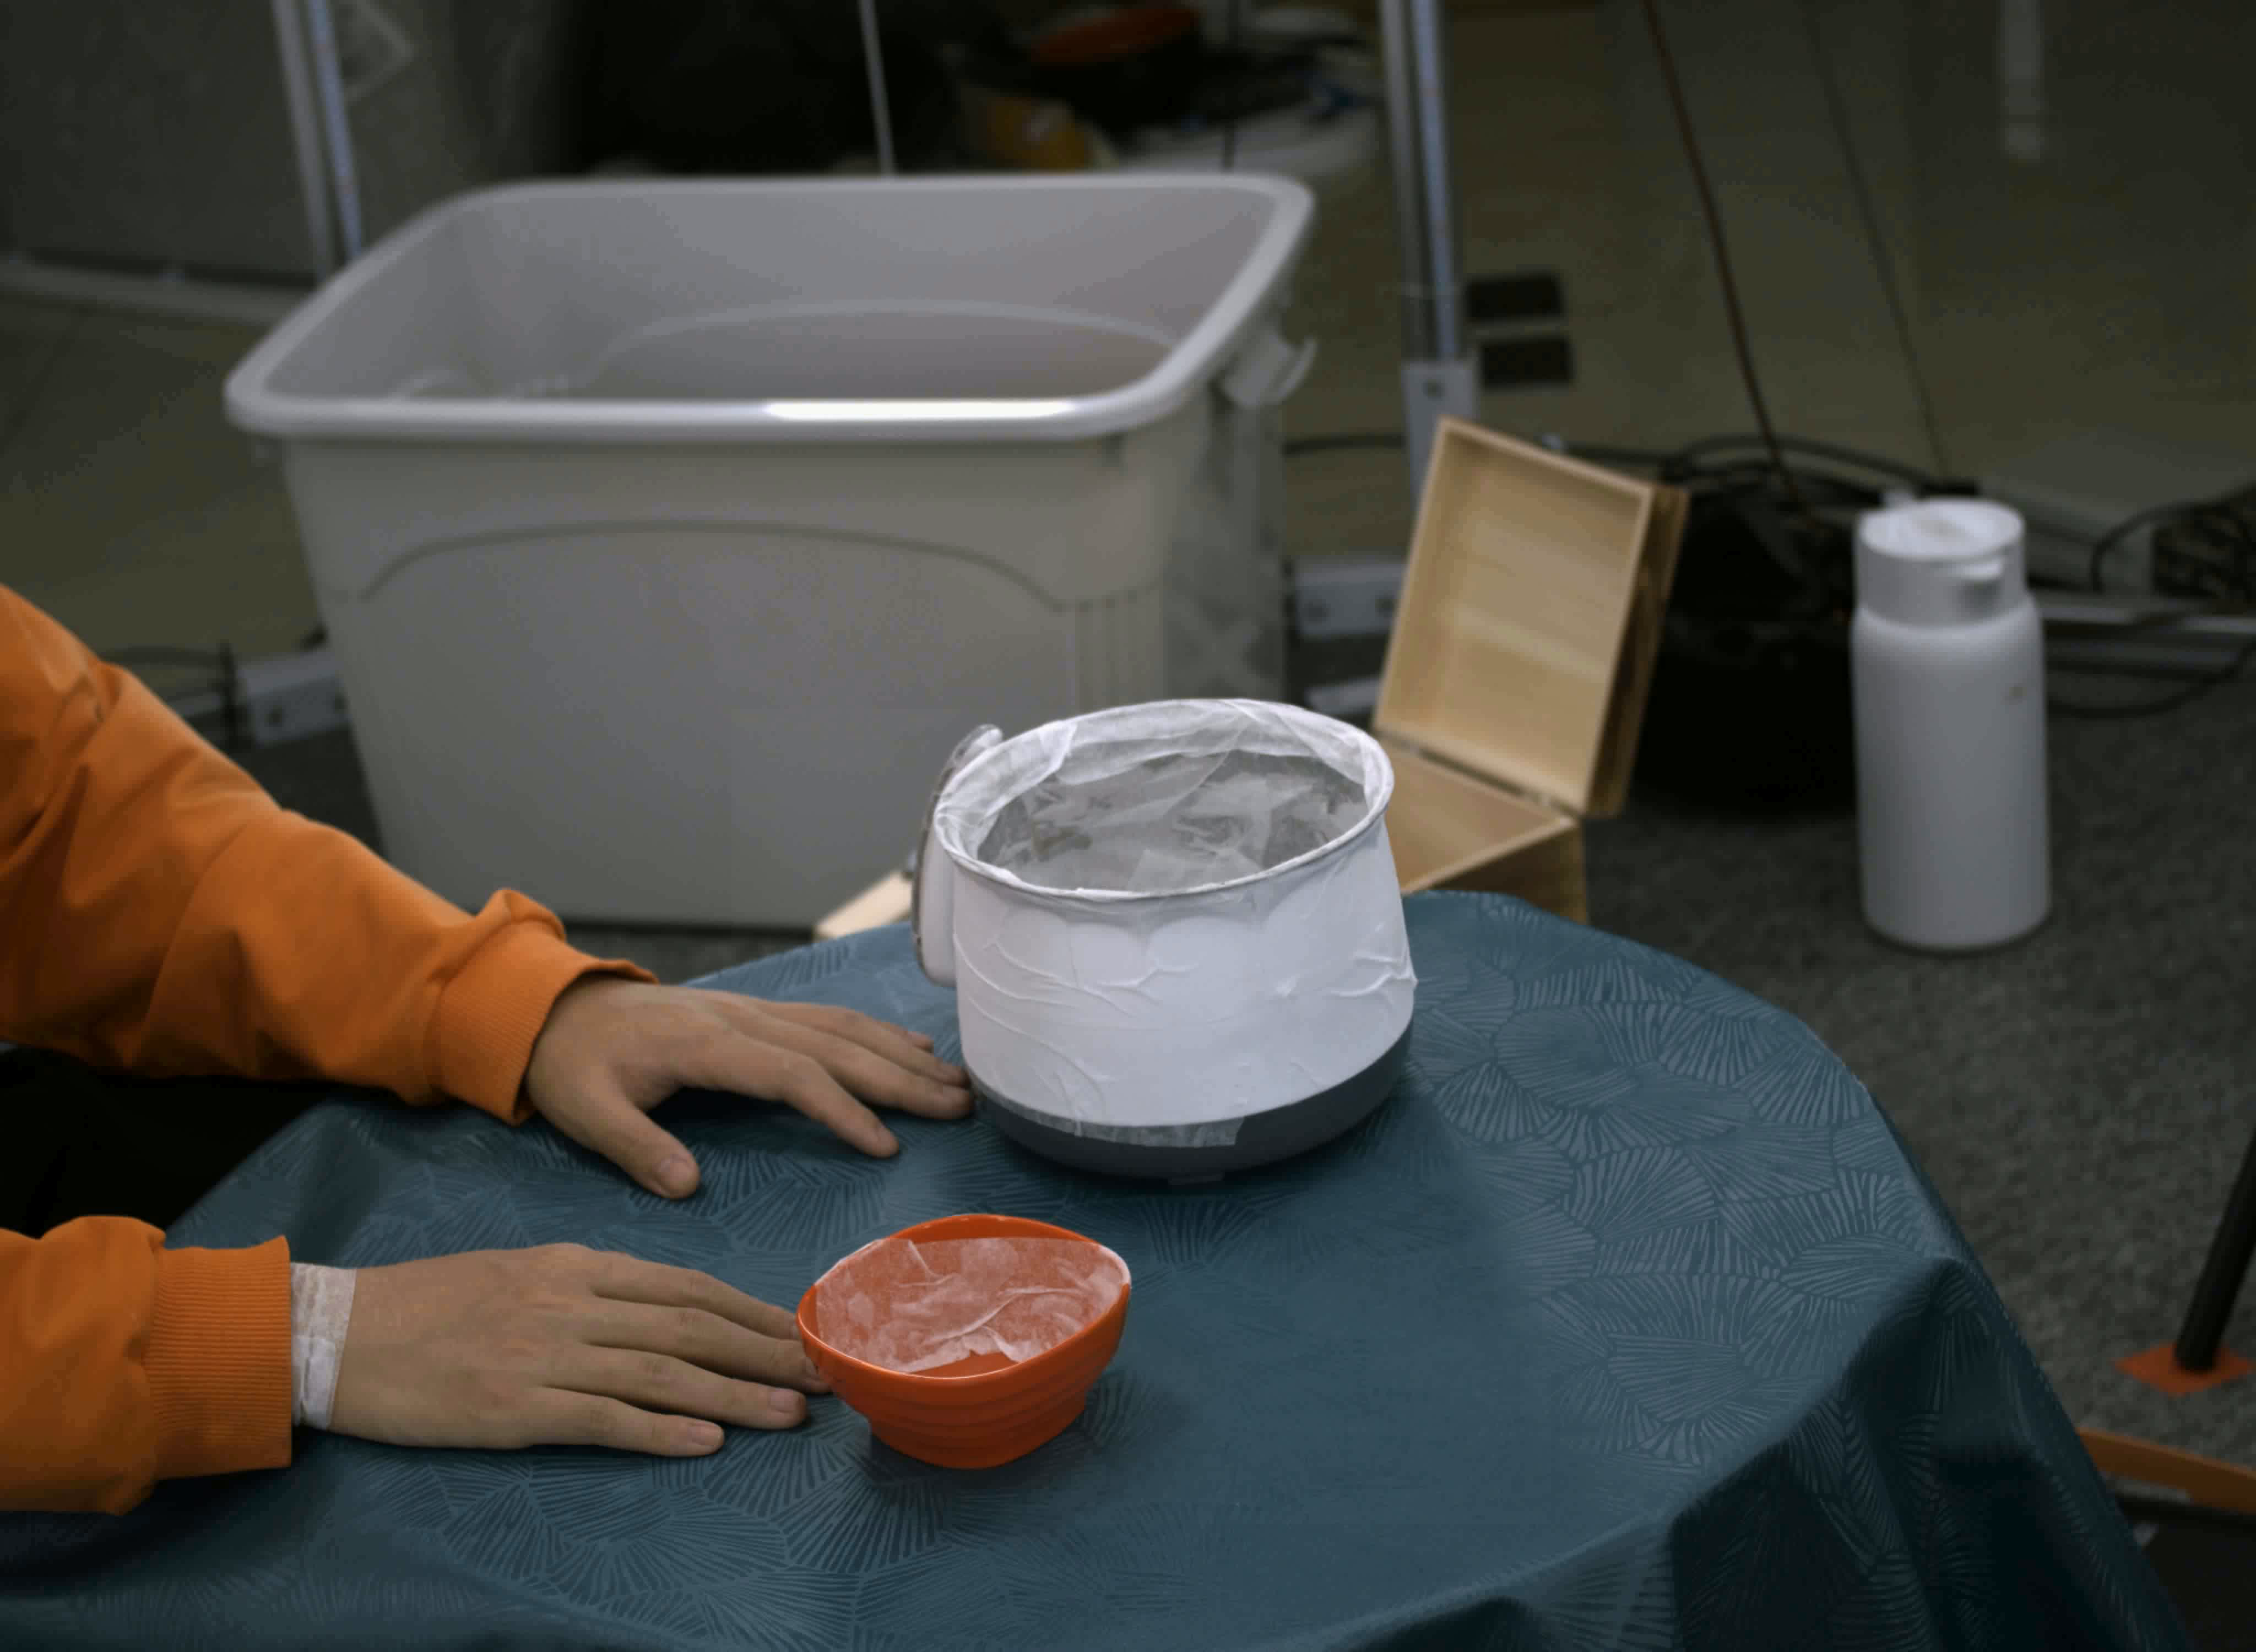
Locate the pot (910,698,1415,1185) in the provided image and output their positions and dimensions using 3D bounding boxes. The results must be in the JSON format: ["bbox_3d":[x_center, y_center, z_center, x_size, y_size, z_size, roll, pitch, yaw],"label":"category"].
[{"bbox_3d":[0.000,0.039,2.197,0.232,0.139,0.177,18,34,41],"label":"pot"}]

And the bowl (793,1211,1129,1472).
[{"bbox_3d":[-0.056,0.186,2.000,0.119,0.052,0.117,-5,26,3],"label":"bowl"}]
